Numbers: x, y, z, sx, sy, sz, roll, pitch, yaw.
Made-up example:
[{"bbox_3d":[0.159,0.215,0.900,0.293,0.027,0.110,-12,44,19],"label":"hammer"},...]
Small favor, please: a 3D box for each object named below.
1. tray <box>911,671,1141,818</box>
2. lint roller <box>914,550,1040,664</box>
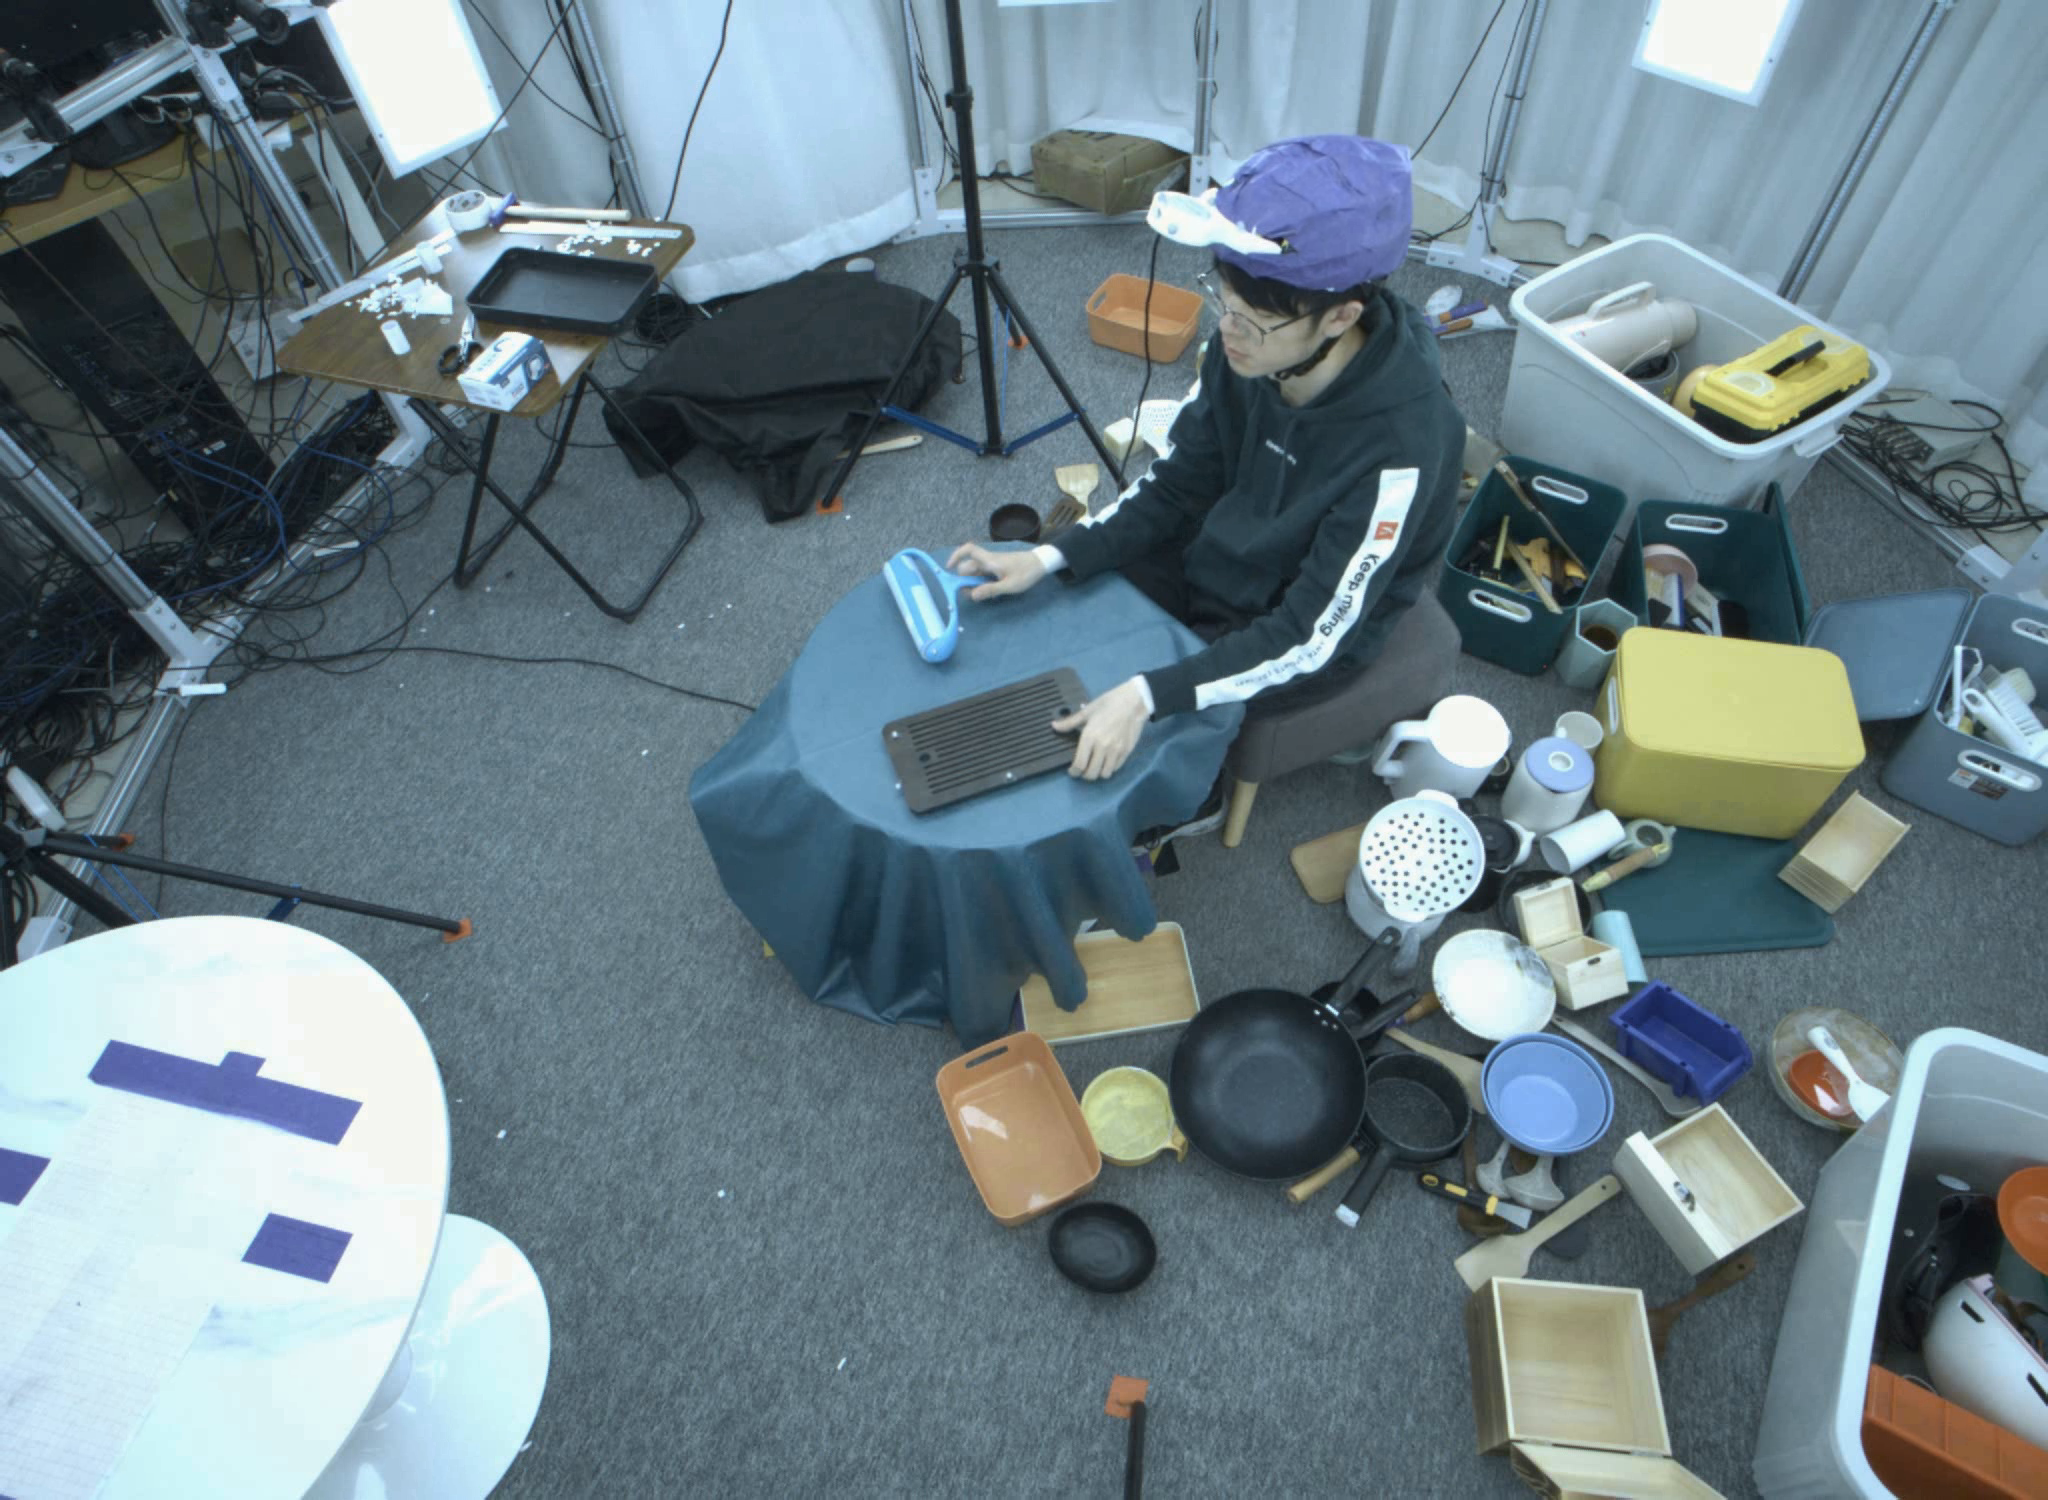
[{"bbox_3d":[0.001,-0.009,1.778,0.308,0.019,0.167,-17,55,-10],"label":"tray"},{"bbox_3d":[-0.064,-0.242,1.922,0.181,0.069,0.224,-21,54,-10],"label":"lint roller"}]
